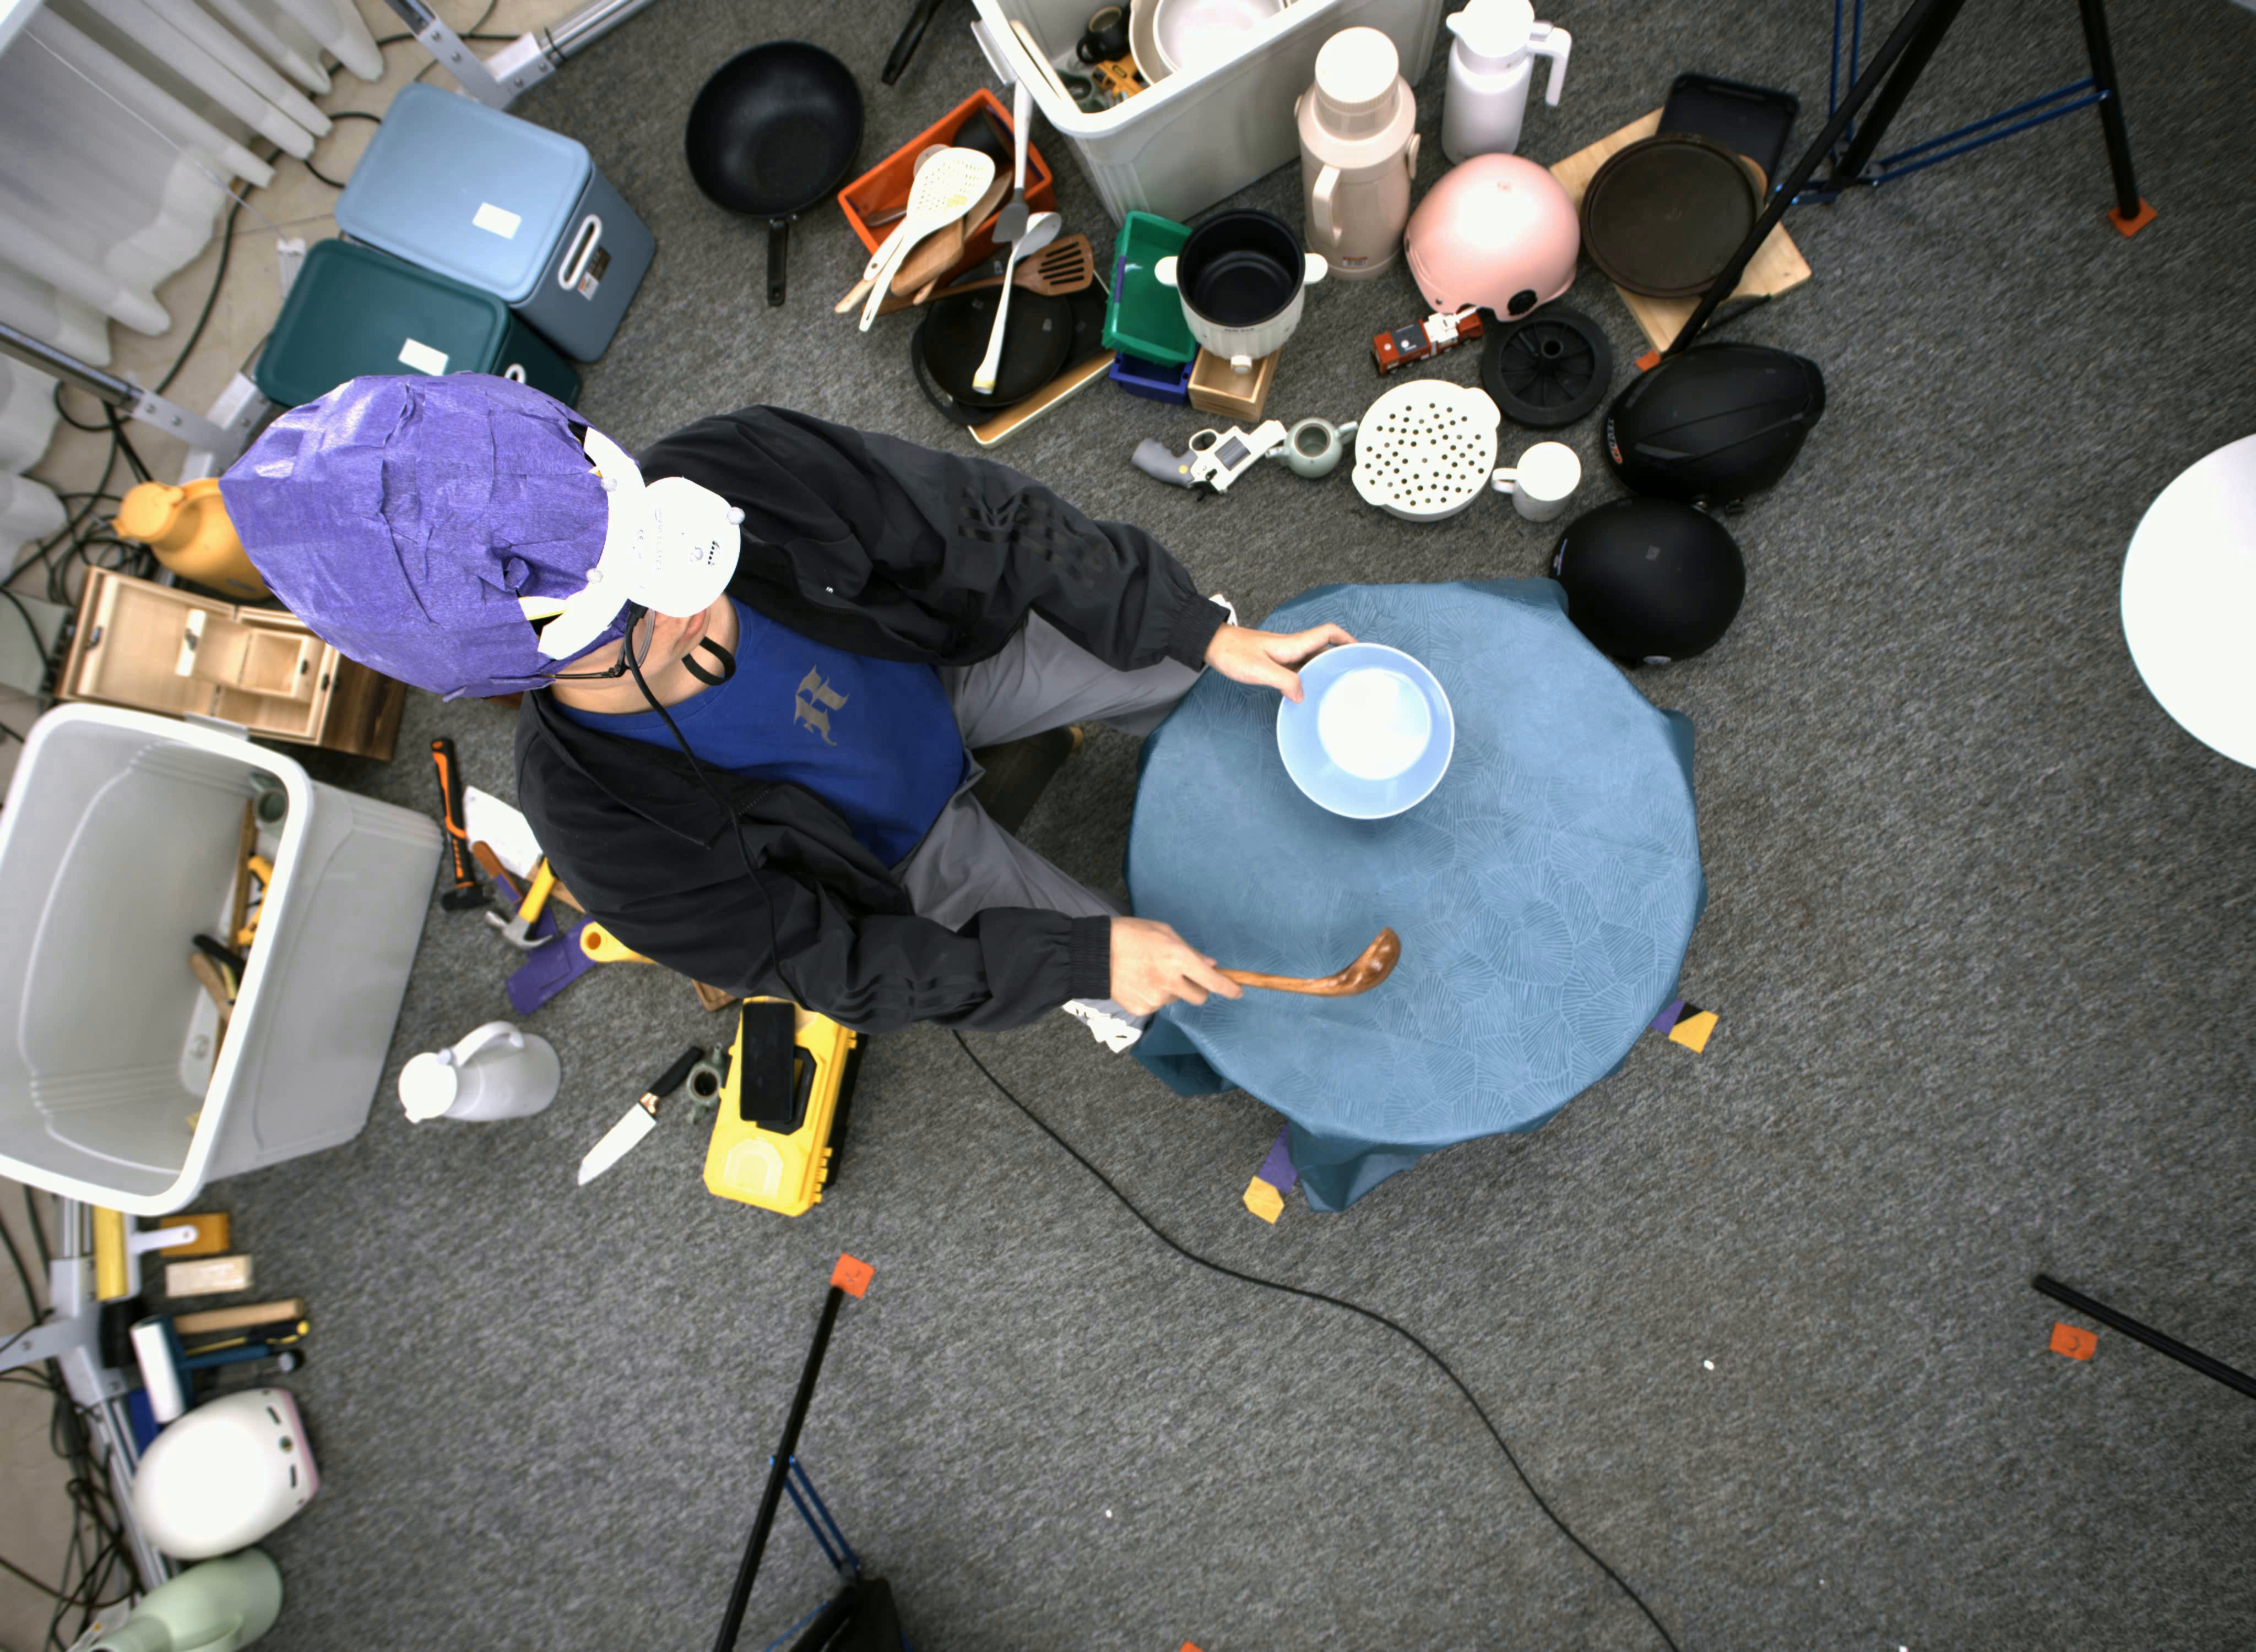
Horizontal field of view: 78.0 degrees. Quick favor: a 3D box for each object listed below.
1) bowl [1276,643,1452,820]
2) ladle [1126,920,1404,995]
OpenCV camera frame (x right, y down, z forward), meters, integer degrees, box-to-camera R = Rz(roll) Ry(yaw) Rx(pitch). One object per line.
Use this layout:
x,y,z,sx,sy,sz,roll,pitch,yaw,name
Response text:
0.241,-0.100,1.379,0.177,0.069,0.178,6,108,20,bowl
0.136,0.124,1.385,0.275,0.083,0.075,2,68,12,ladle
